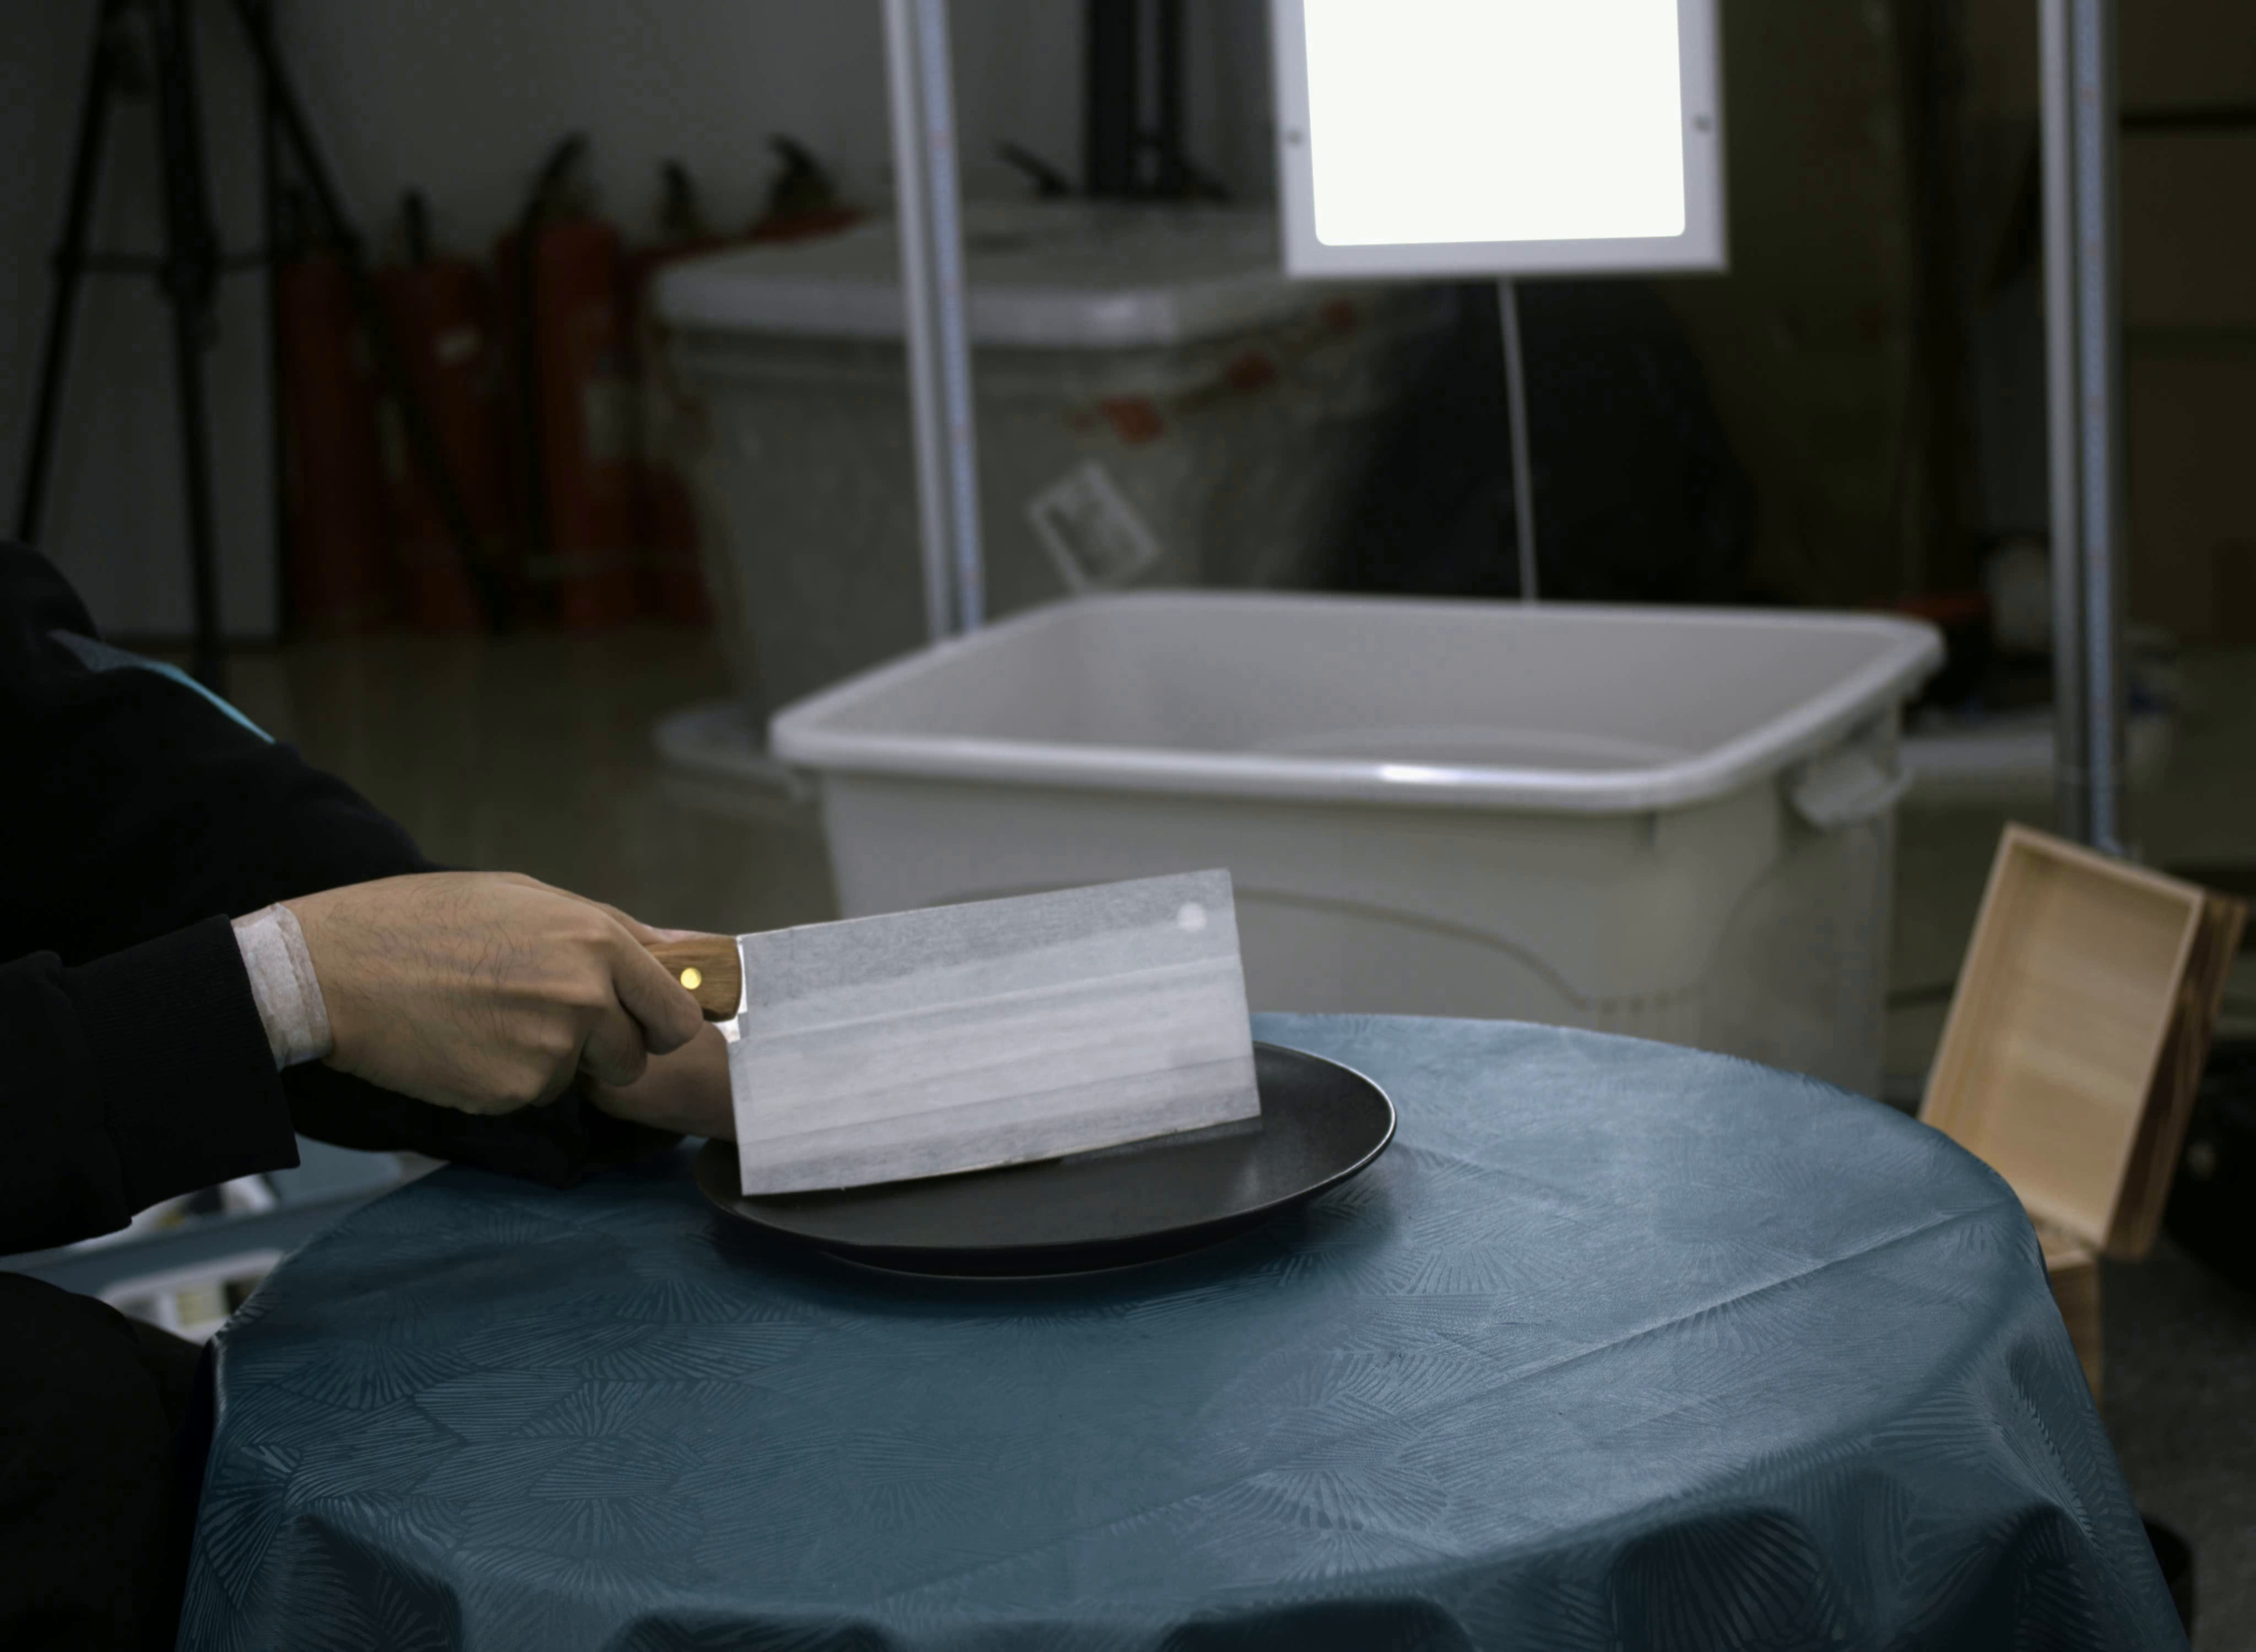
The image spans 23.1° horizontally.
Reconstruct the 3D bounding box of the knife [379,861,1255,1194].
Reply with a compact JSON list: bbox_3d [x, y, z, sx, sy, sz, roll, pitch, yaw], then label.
[{"bbox_3d":[-0.101,0.076,1.885,0.301,0.093,0.021,-8,2,-15],"label":"knife"}]

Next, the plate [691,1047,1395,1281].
[{"bbox_3d":[-0.028,0.117,1.897,0.244,0.023,0.244,-5,14,0],"label":"plate"}]
